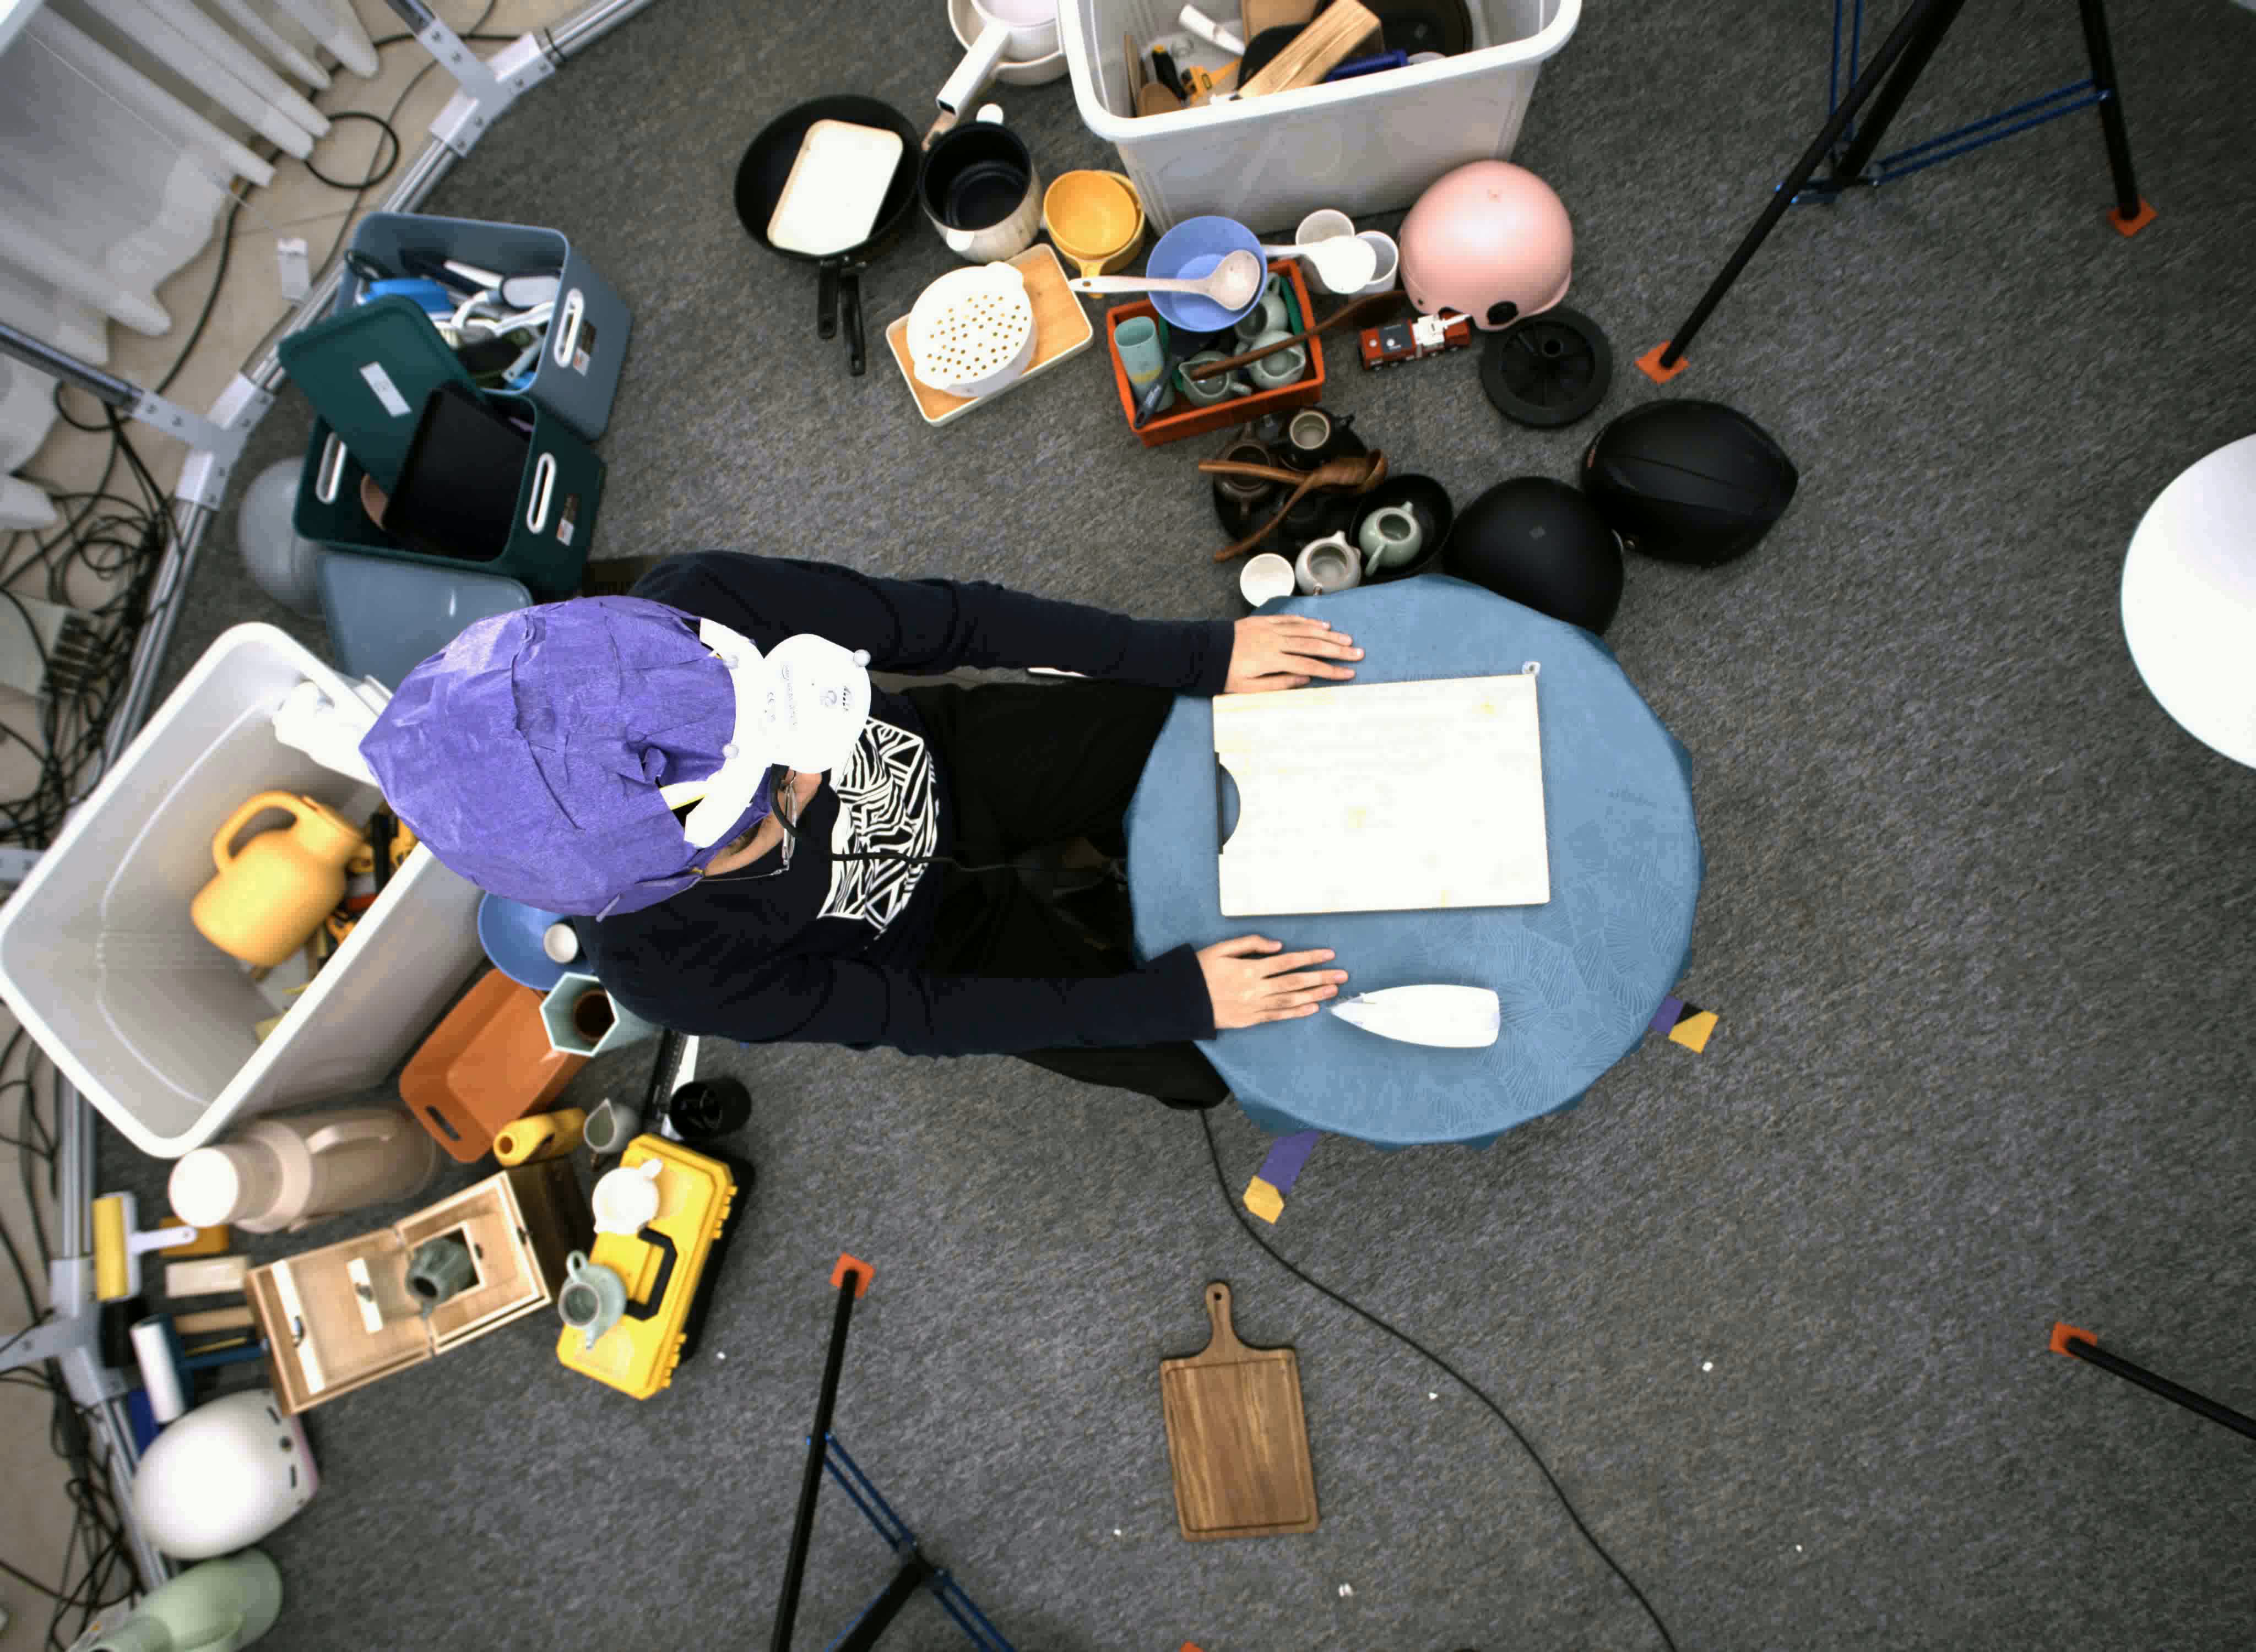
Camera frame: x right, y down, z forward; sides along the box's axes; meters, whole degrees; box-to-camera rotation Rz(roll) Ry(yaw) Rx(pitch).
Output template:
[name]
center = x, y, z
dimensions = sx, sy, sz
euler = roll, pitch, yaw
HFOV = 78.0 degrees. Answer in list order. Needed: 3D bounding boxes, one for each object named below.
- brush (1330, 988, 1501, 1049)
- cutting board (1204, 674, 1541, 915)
[brush]
center = 0.291, 0.192, 1.402
dimensions = 0.176, 0.094, 0.061
euler = 2, 84, 13
[cutting board]
center = 0.258, -0.033, 1.458
dimensions = 0.350, 0.023, 0.249
euler = -4, 86, 11
